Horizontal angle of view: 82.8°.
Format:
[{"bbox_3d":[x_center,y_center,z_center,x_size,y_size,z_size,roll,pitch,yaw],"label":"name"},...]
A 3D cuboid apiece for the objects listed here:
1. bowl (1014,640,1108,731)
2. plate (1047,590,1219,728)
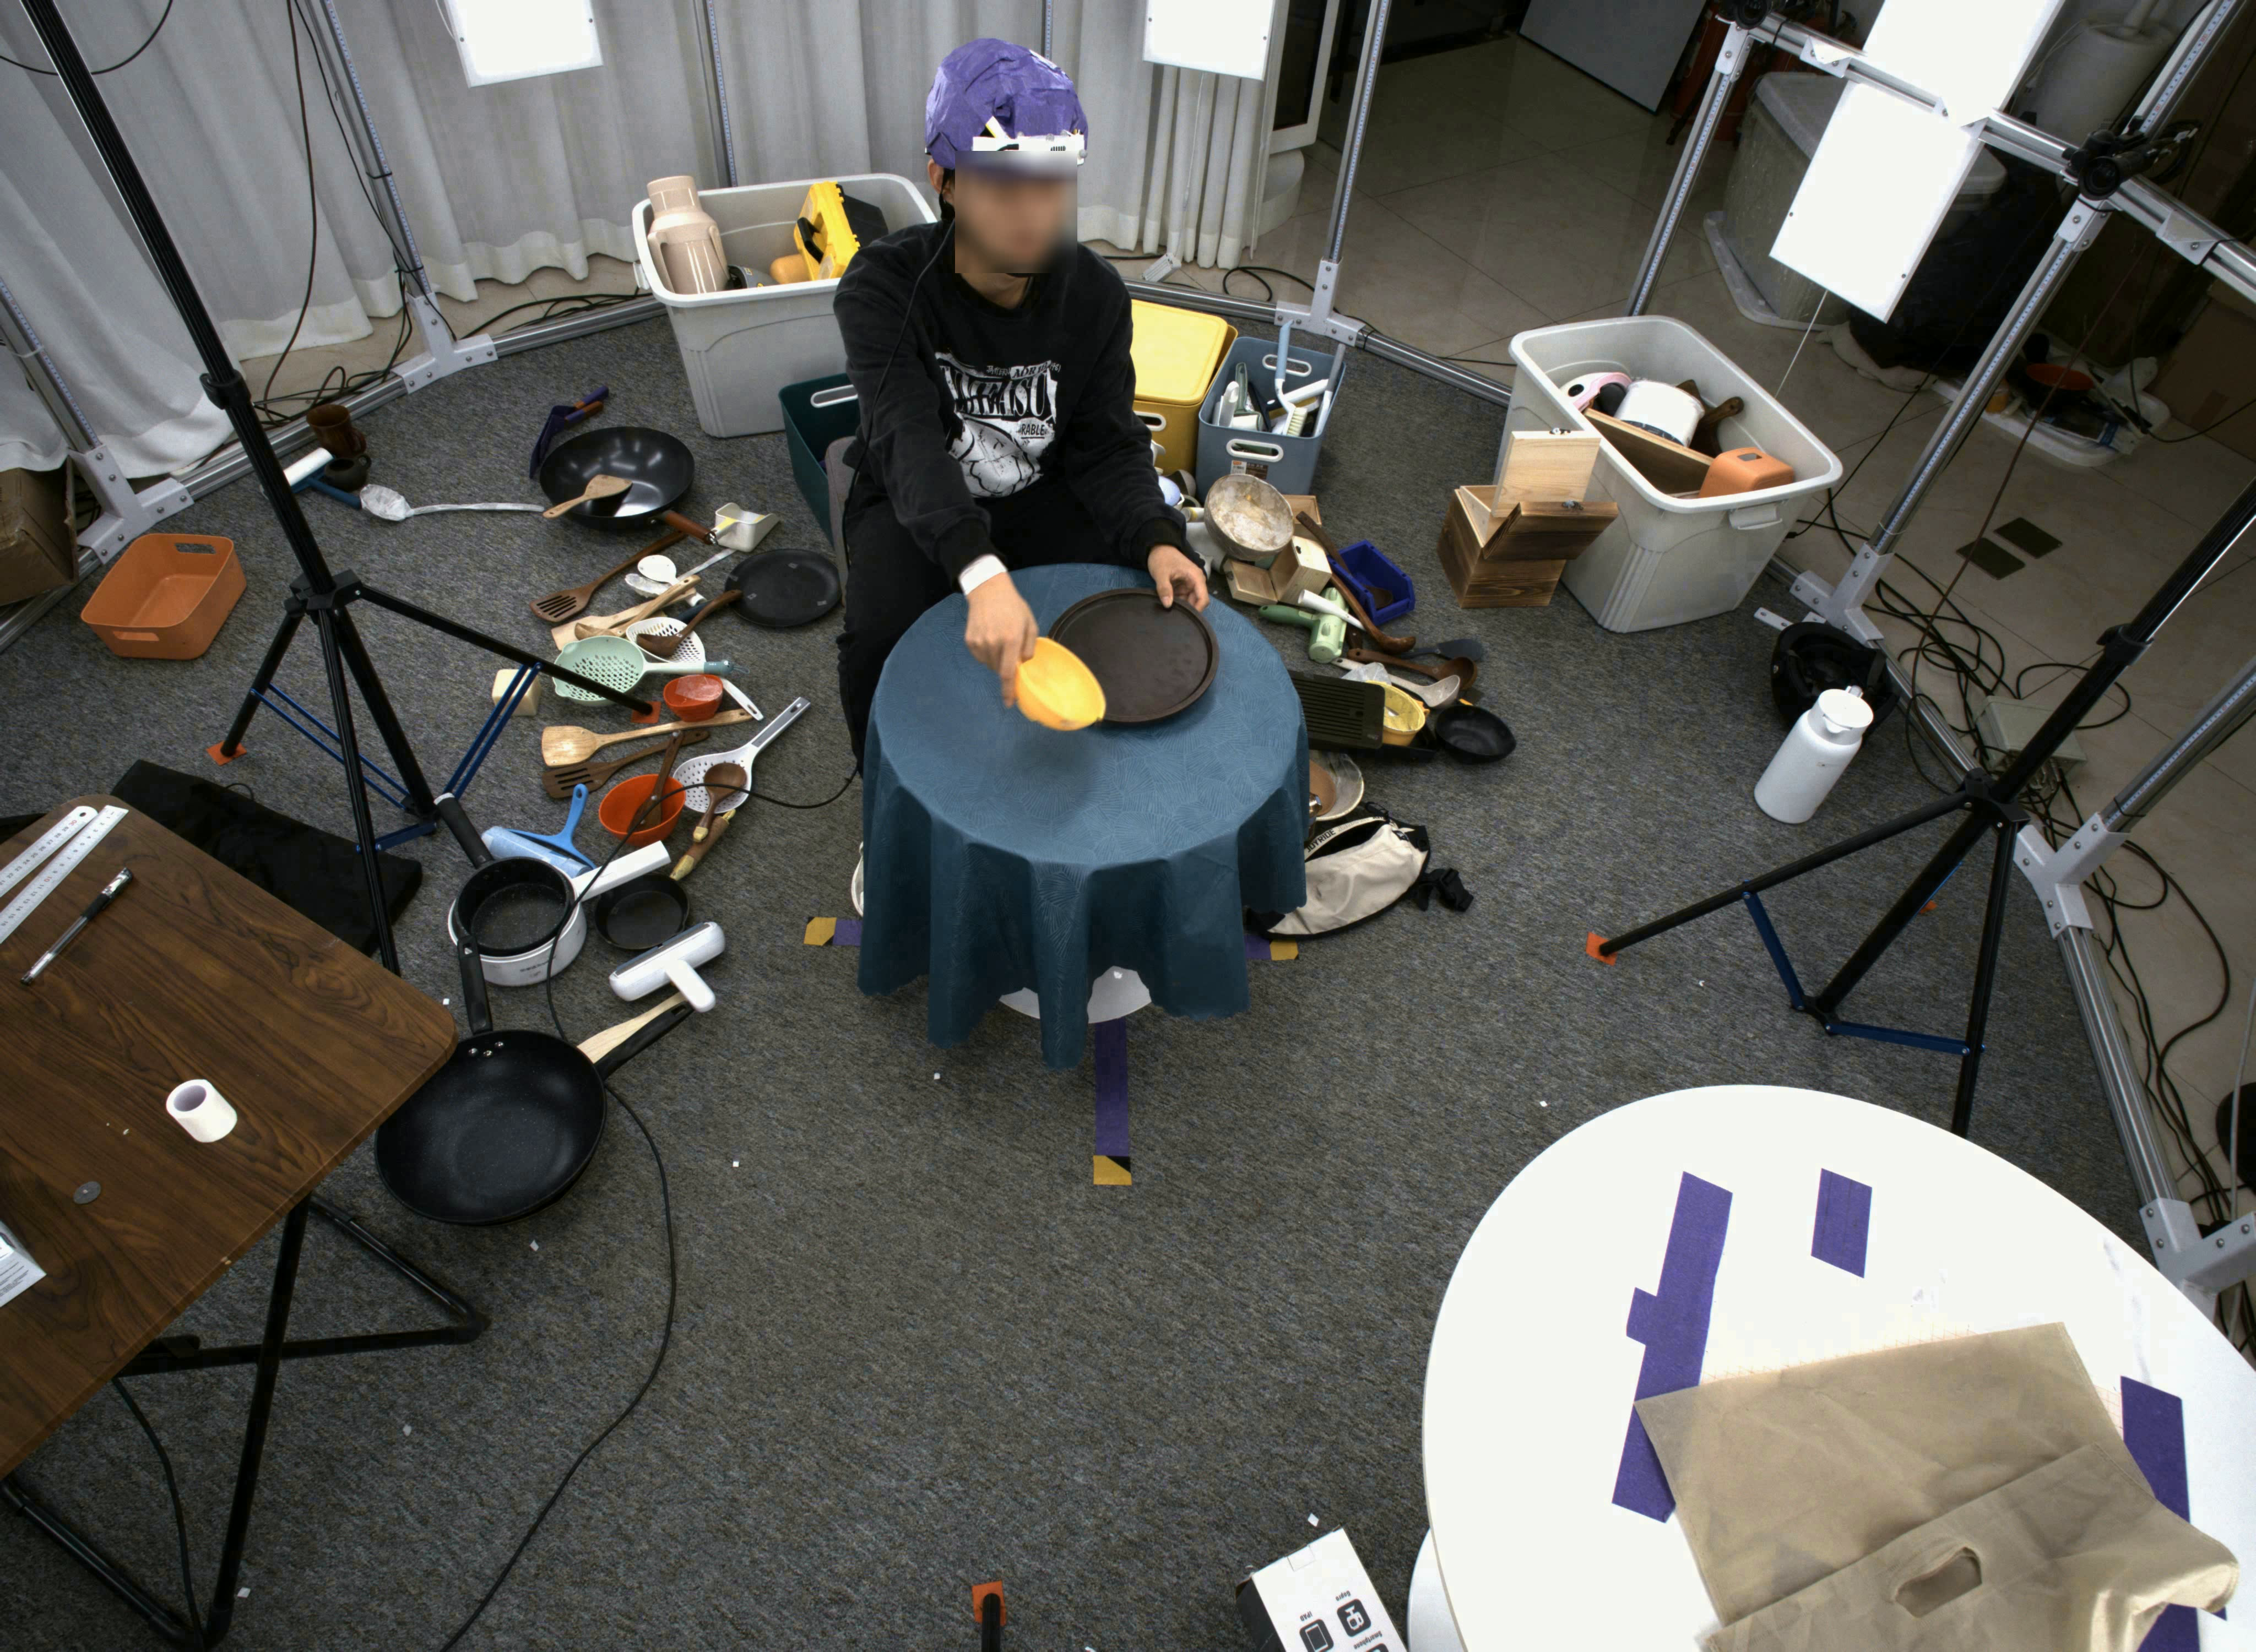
[{"bbox_3d":[-0.100,-0.174,1.702,0.143,0.059,0.149,31,32,-22],"label":"bowl"},{"bbox_3d":[0.006,-0.243,1.862,0.255,0.028,0.261,-2,55,3],"label":"plate"}]
